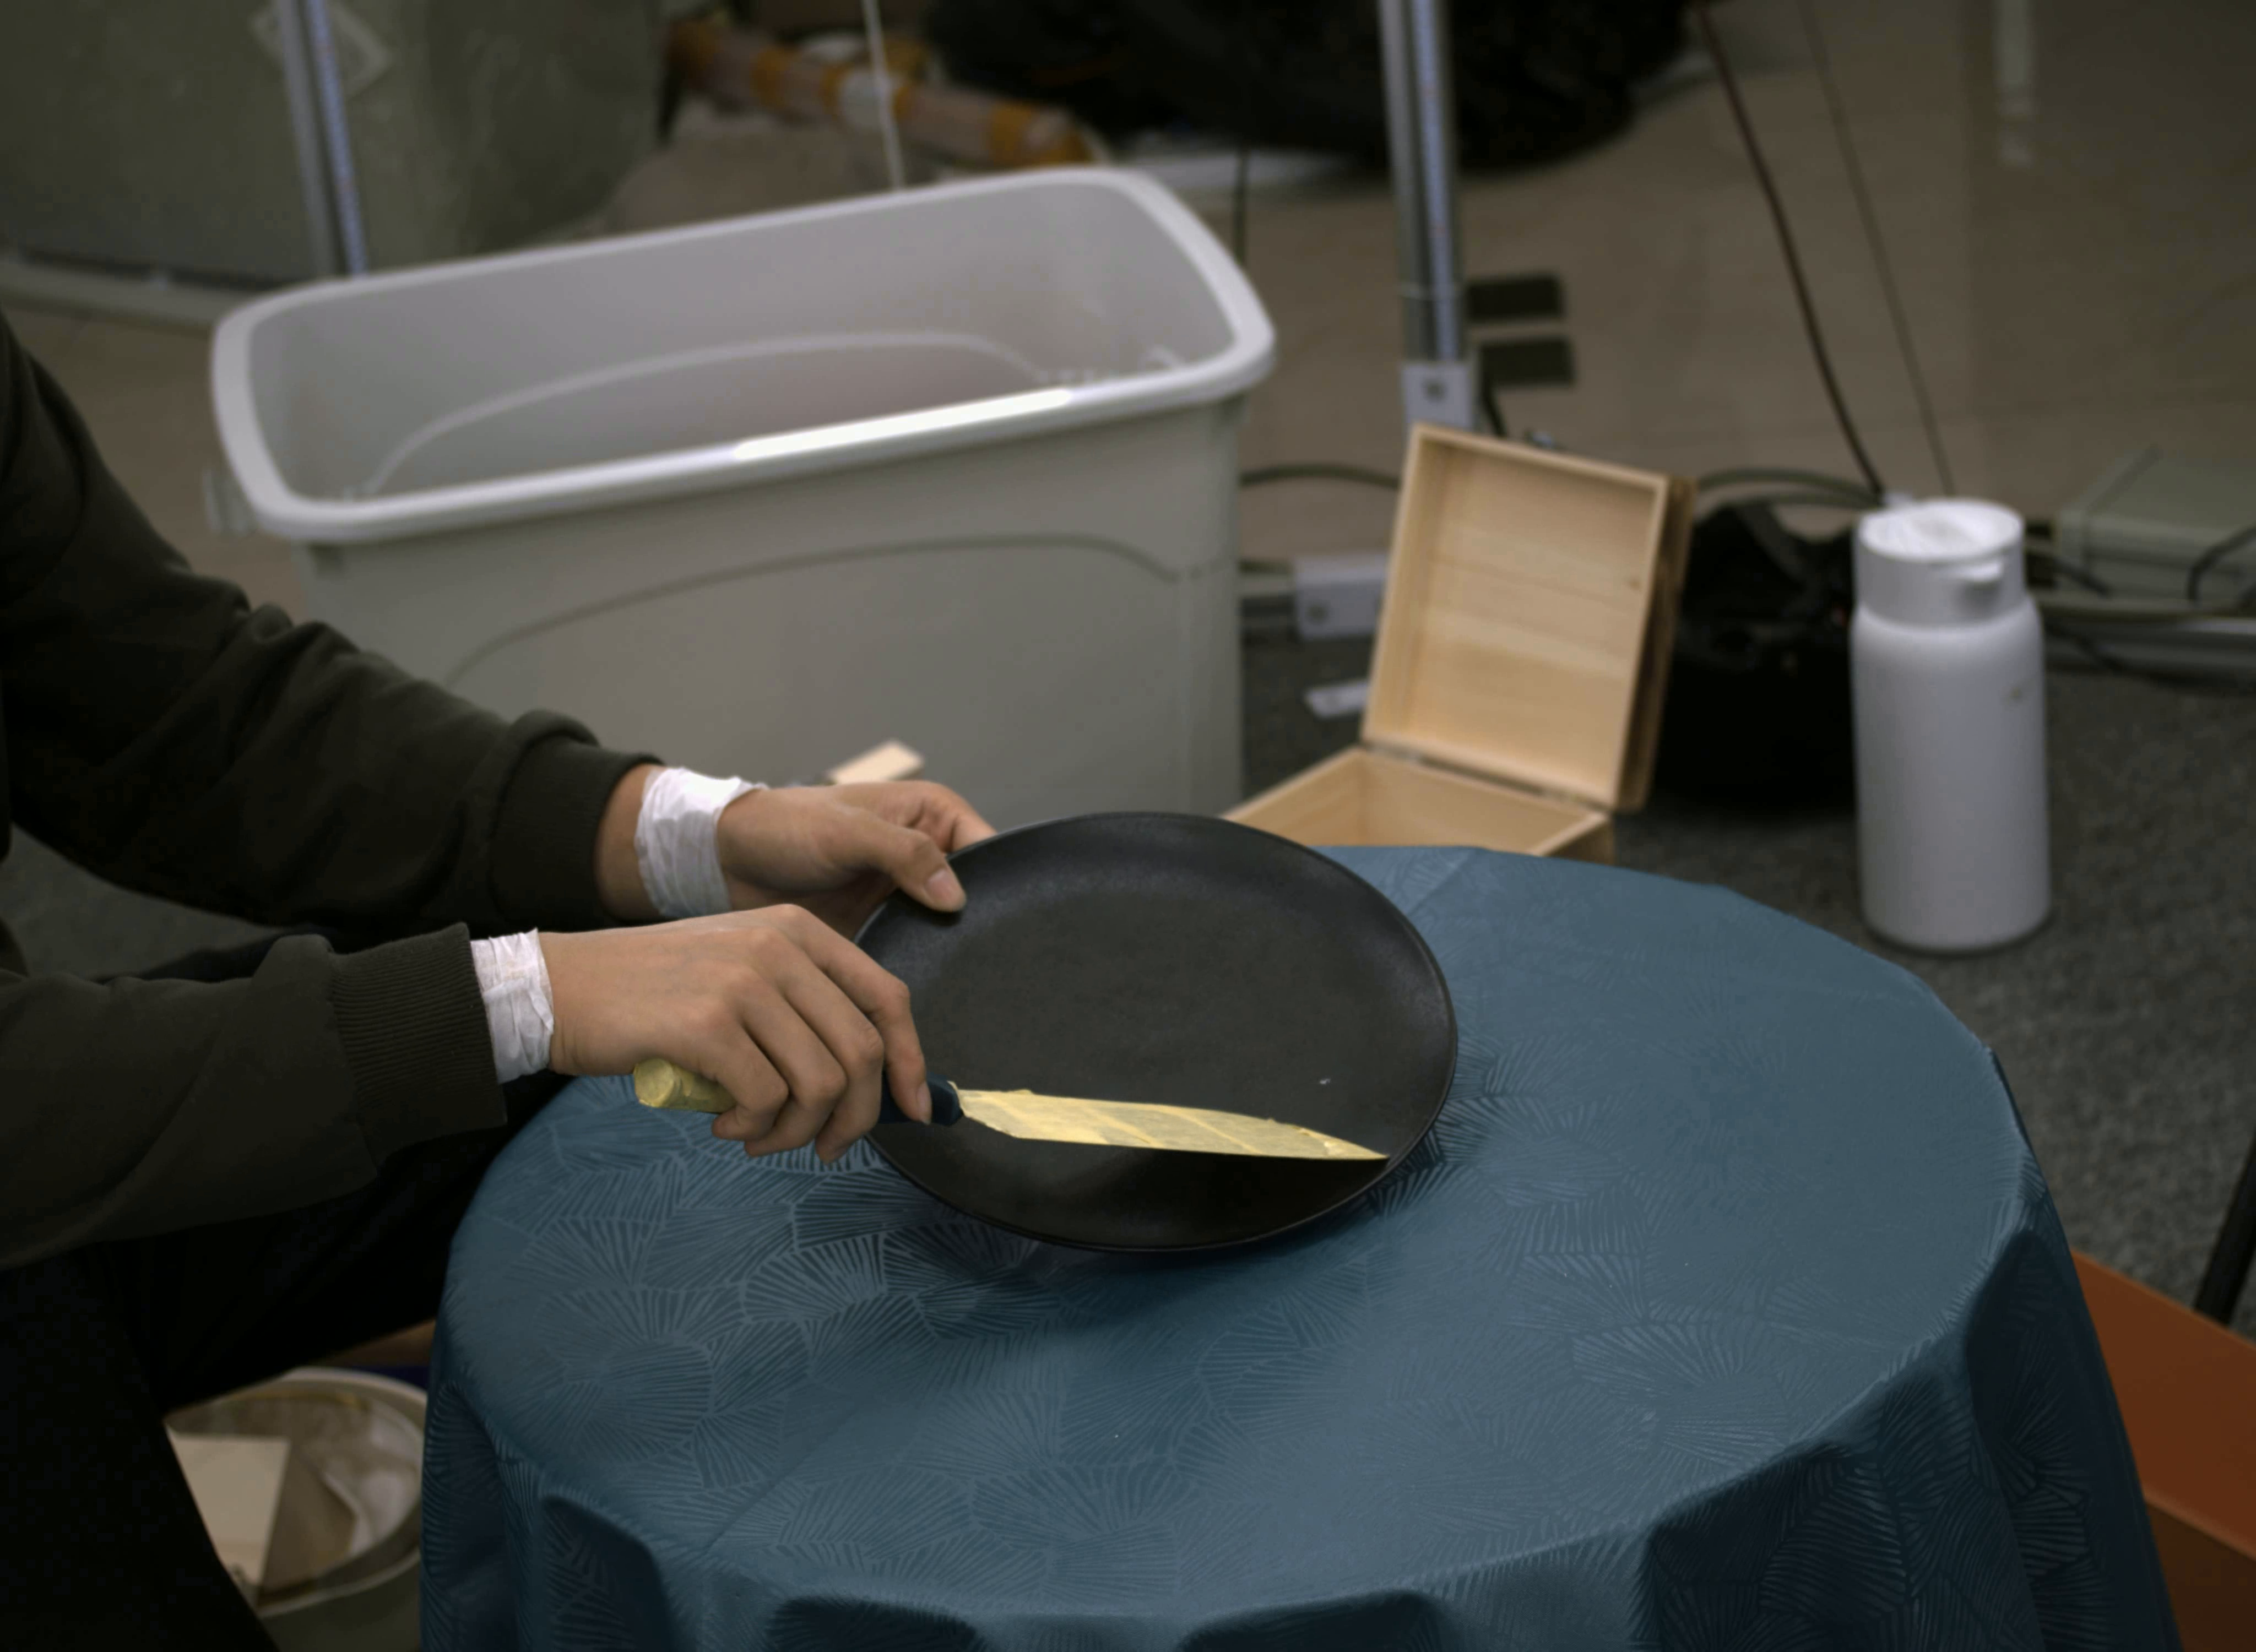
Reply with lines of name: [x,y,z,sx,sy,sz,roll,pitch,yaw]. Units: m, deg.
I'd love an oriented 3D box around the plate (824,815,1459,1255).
plate: [0.005,0.084,2.176,0.244,0.024,0.240,1,43,-1]

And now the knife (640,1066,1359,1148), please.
knife: [-0.040,0.107,2.067,0.289,0.027,0.080,4,7,-29]
